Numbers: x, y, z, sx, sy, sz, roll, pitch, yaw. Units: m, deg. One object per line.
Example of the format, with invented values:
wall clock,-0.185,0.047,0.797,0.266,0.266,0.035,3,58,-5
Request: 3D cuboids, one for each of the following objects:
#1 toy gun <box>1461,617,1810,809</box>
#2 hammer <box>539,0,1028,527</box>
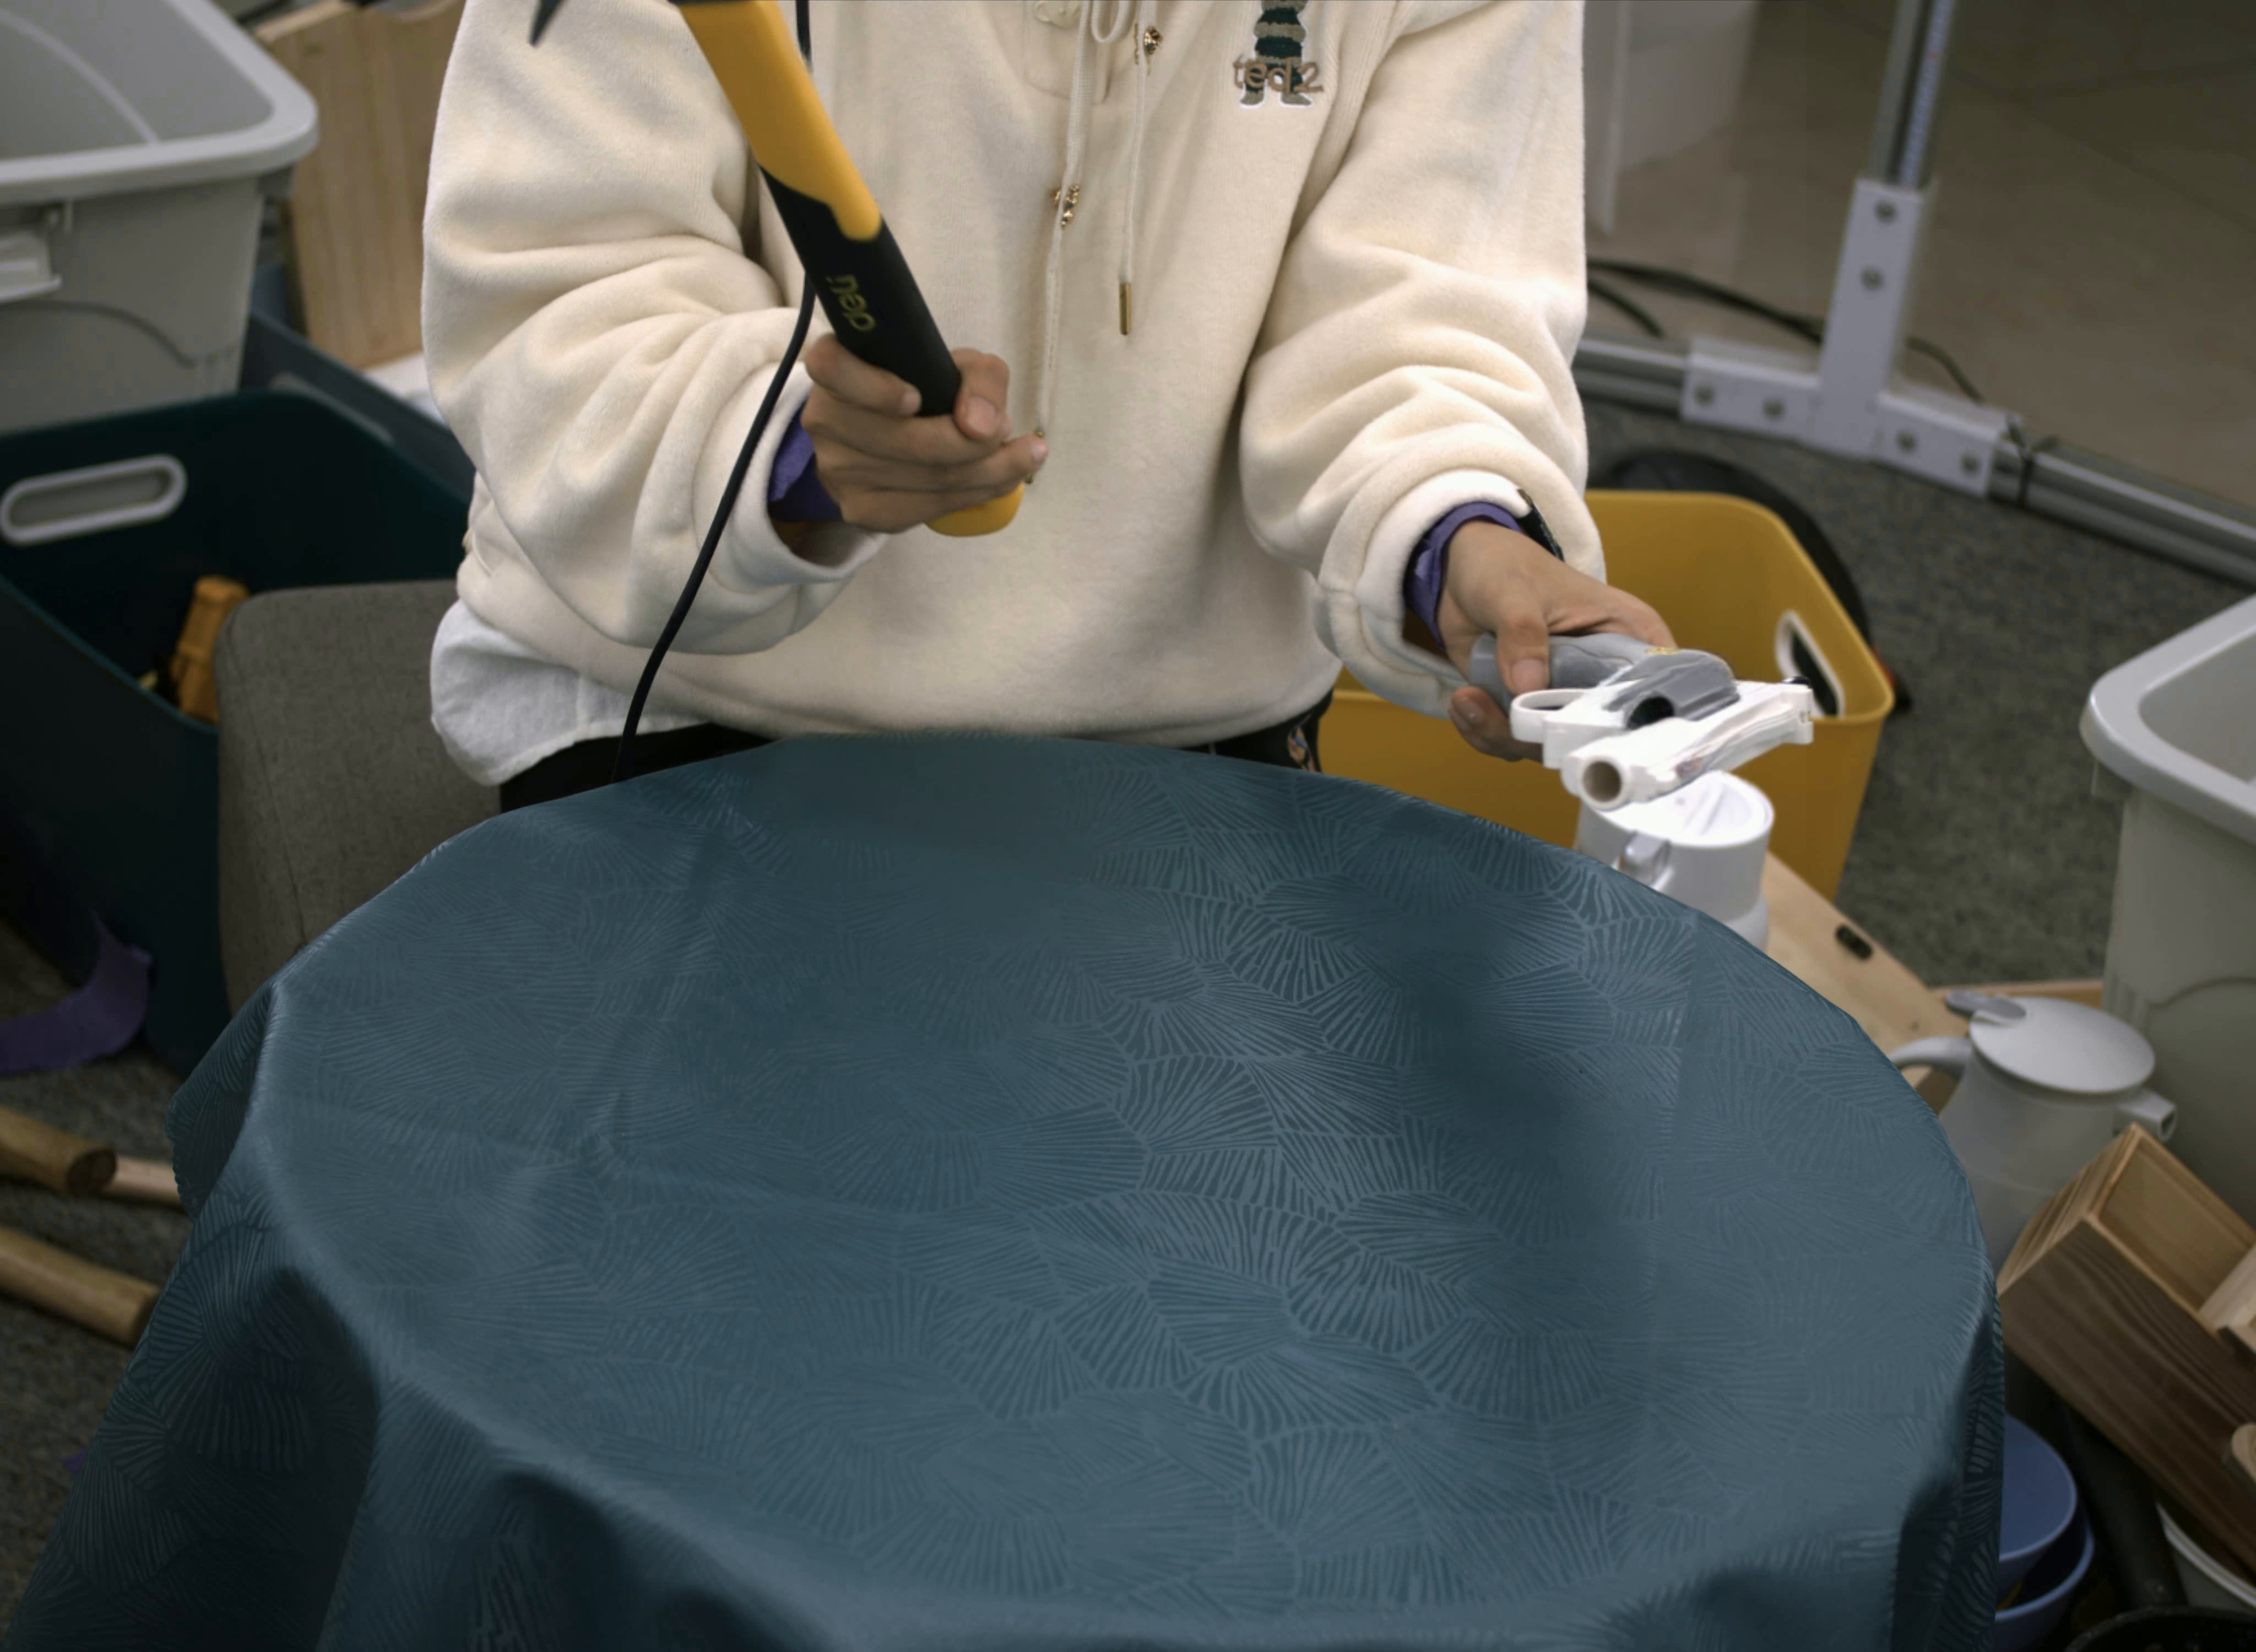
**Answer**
toy gun,0.156,-0.038,1.805,0.142,0.039,0.208,5,13,25
hammer,-0.099,-0.210,1.823,0.131,0.335,0.032,-4,56,17
